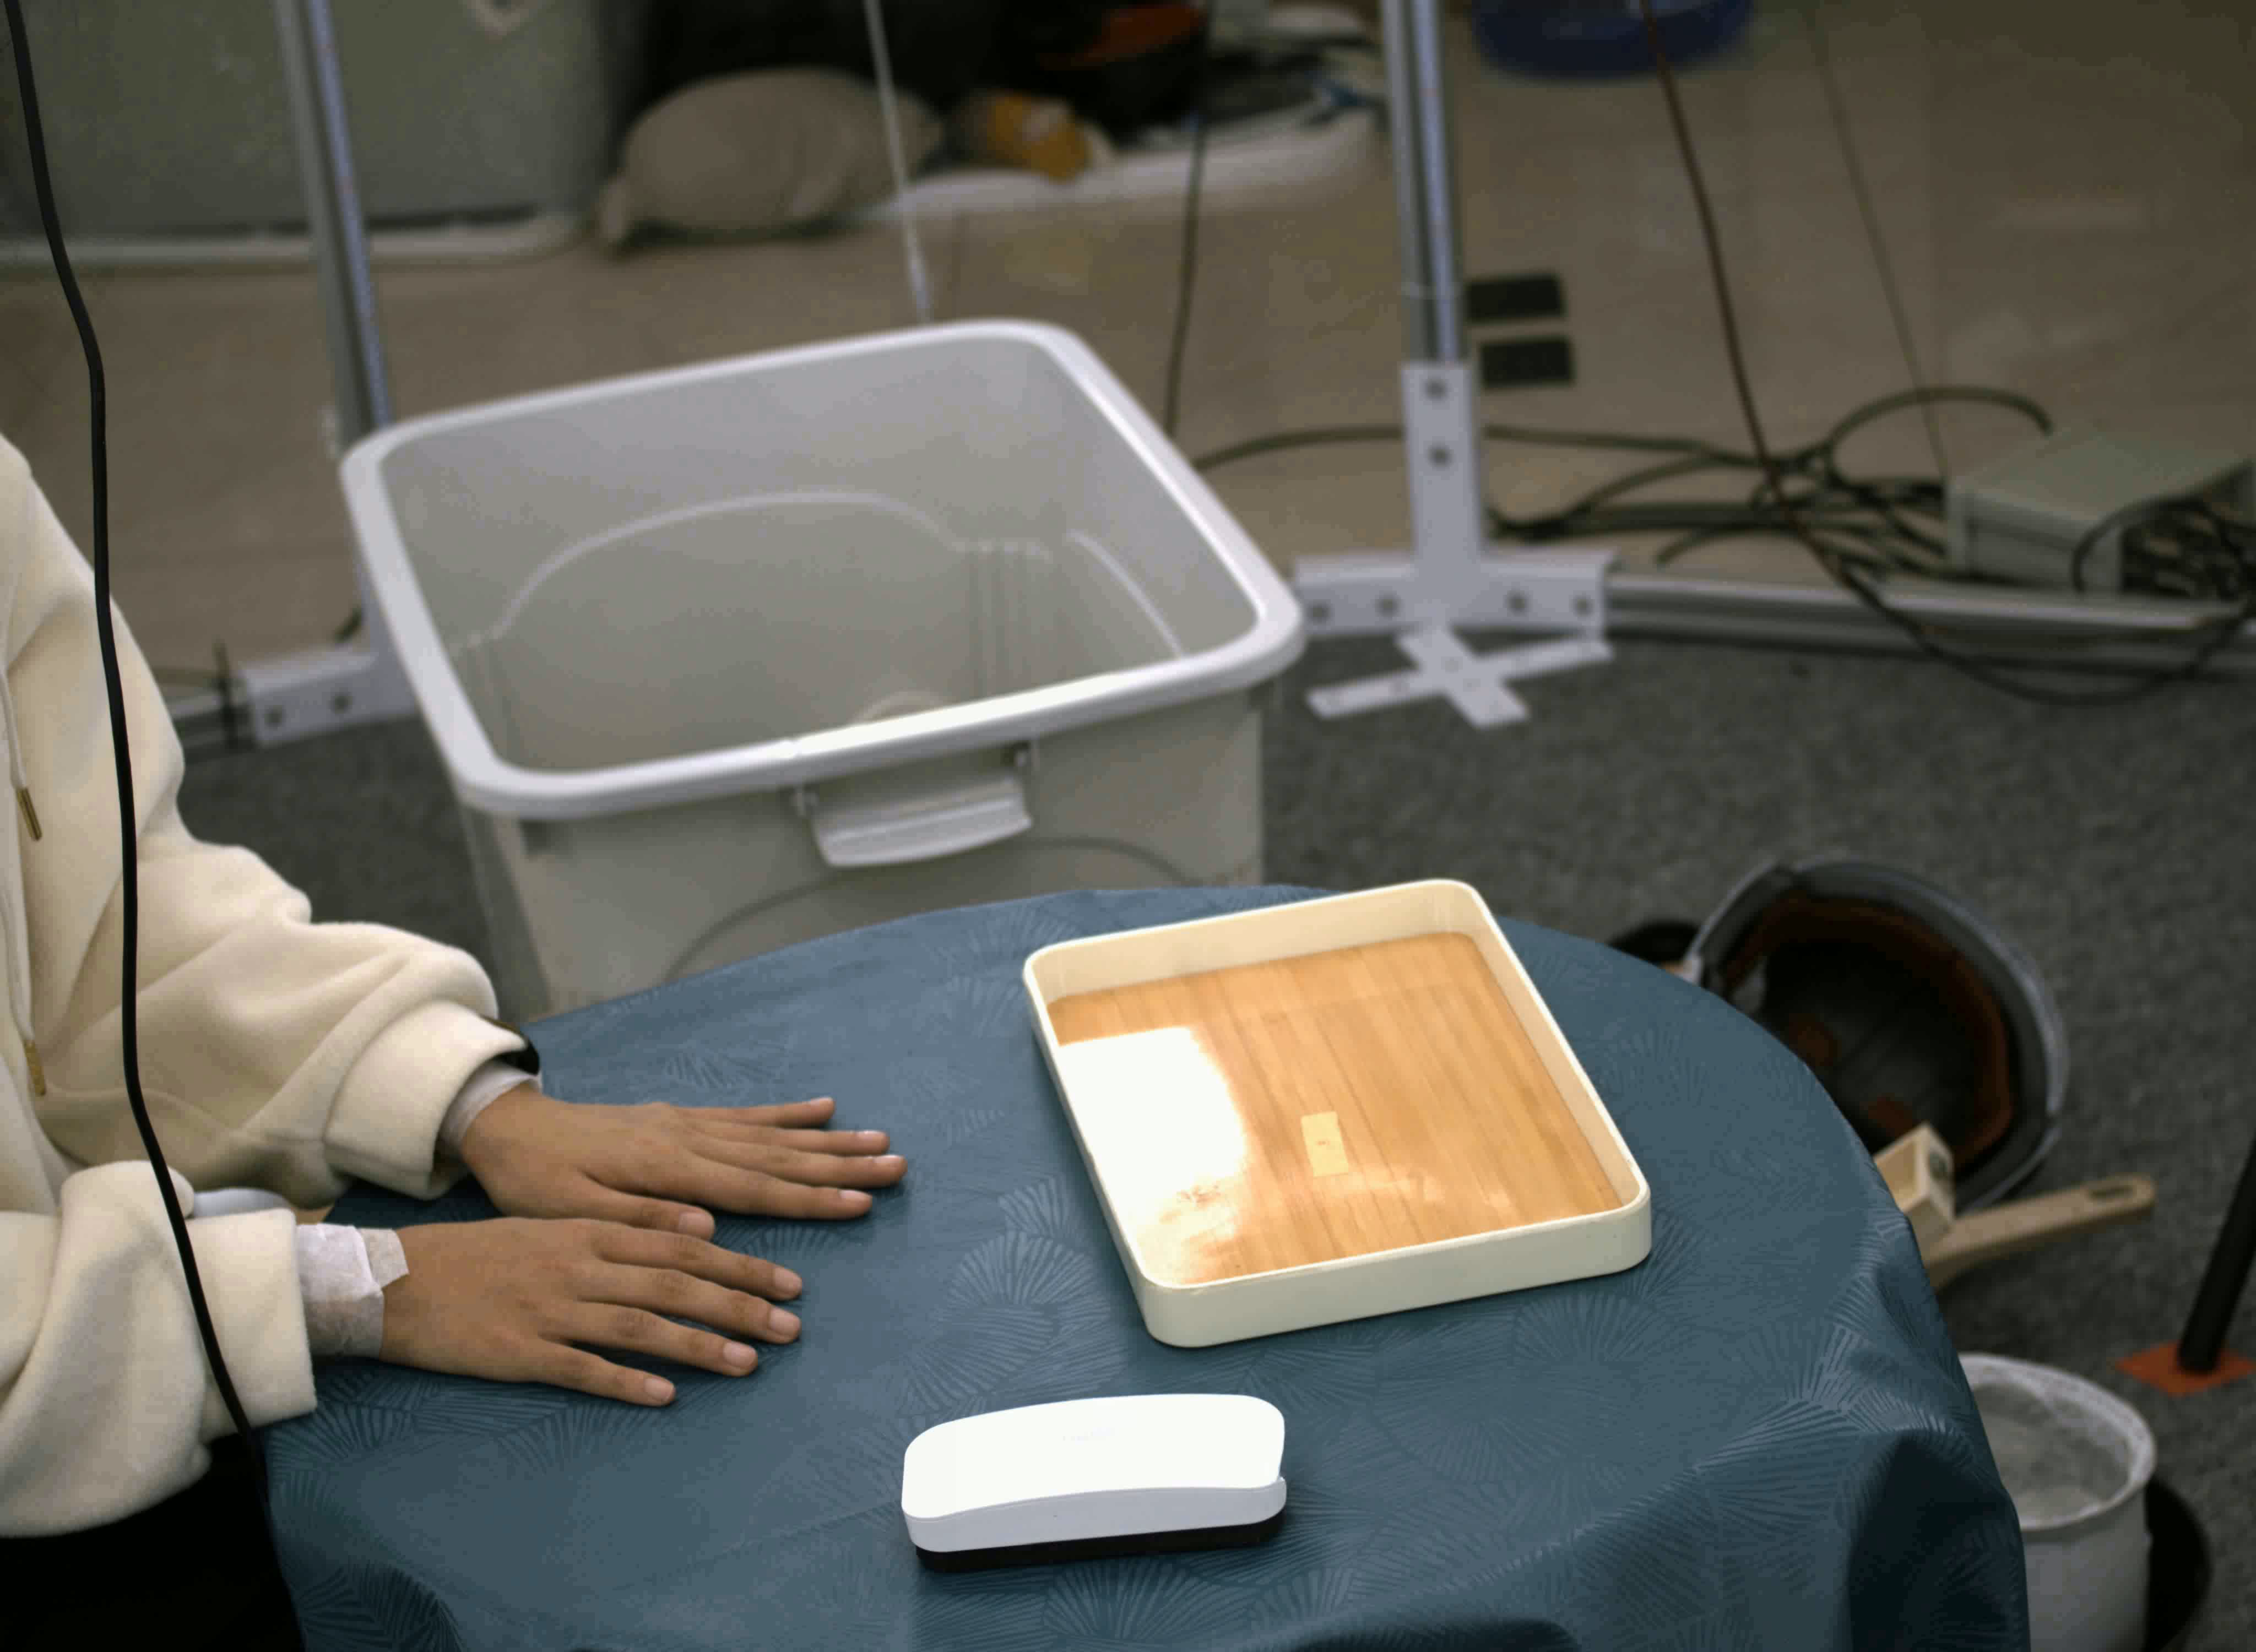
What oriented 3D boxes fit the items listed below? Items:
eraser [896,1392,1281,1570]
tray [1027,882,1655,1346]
[{"bbox_3d":[-0.013,0.222,1.935,0.131,0.035,0.062,-4,25,3],"label":"eraser"},{"bbox_3d":[0.076,0.105,2.170,0.191,0.028,0.296,-9,25,-7],"label":"tray"}]
